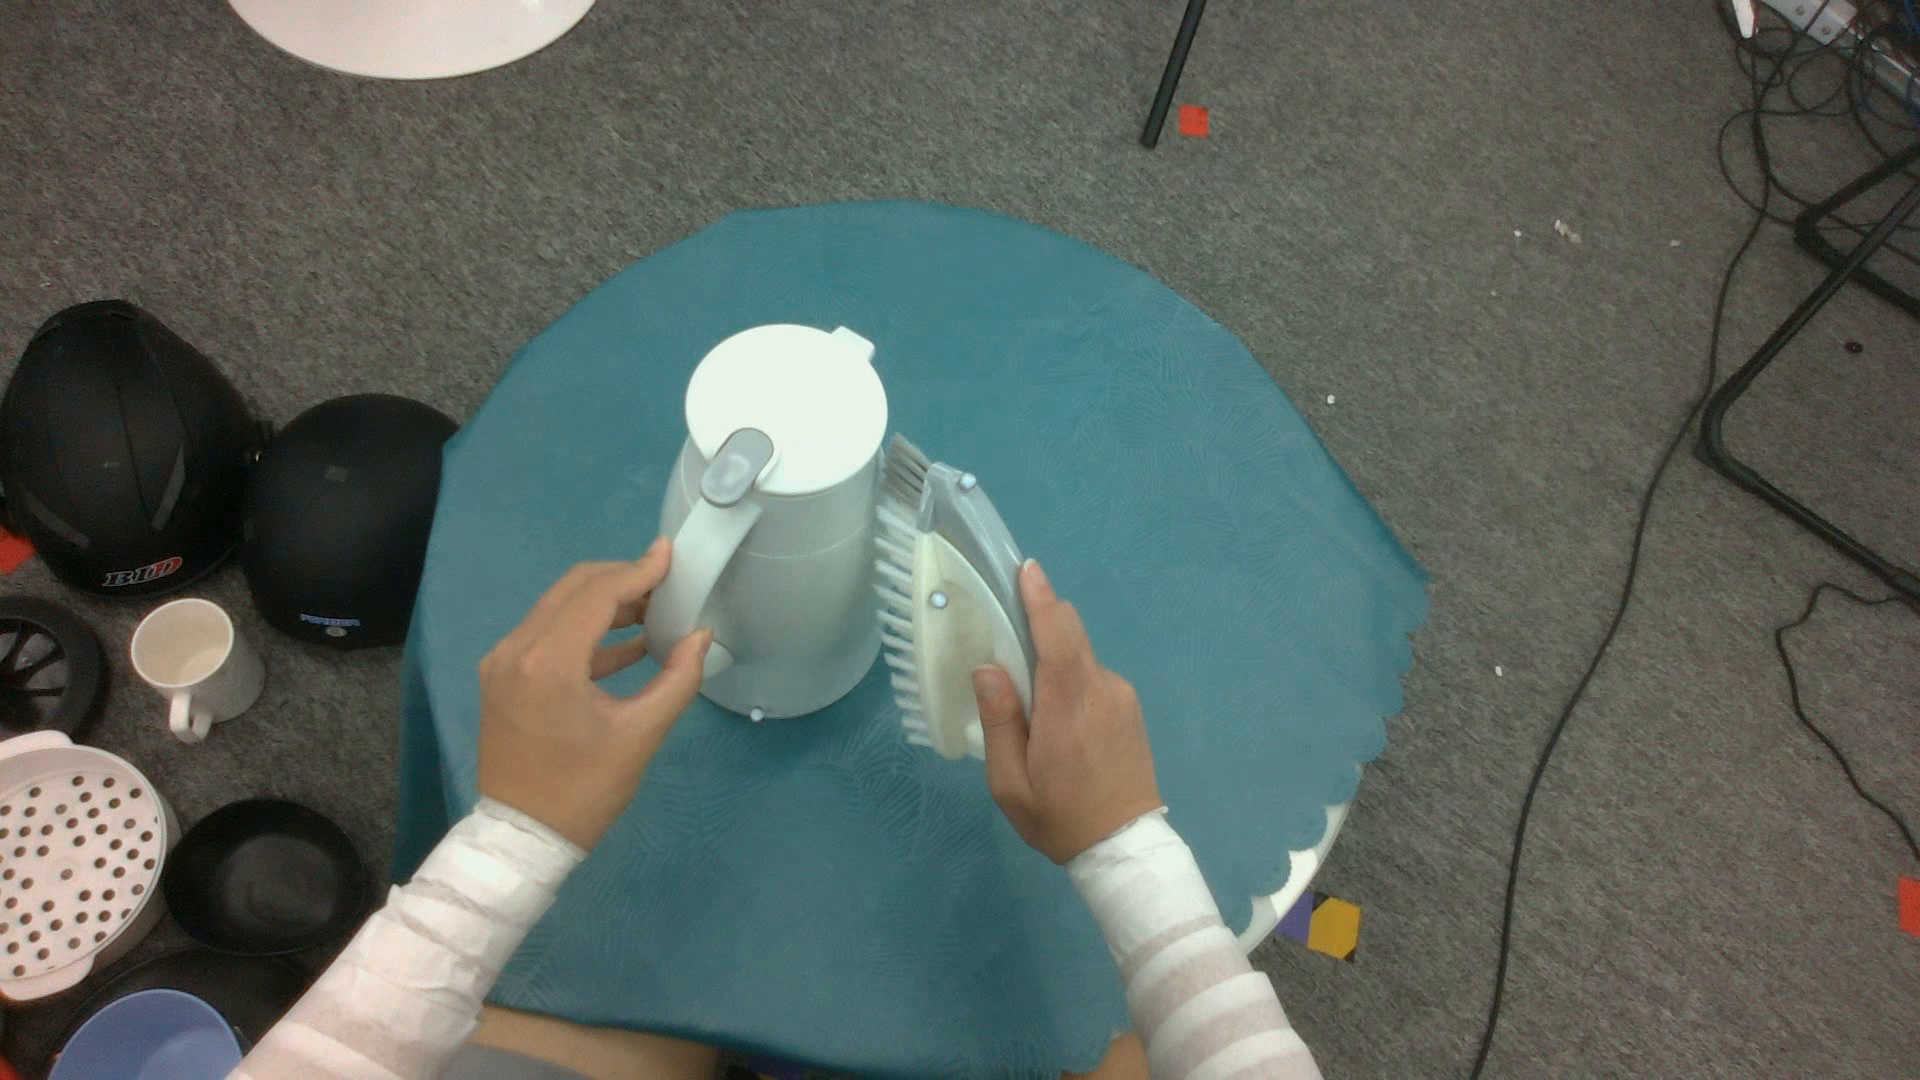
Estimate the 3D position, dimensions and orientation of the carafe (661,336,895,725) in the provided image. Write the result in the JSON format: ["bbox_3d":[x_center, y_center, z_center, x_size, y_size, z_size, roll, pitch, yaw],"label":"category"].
[{"bbox_3d":[-0.099,0.011,0.732,0.132,0.247,0.168,28,63,6],"label":"carafe"}]

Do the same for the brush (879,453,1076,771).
[{"bbox_3d":[0.011,0.041,0.682,0.094,0.175,0.062,15,38,39],"label":"brush"}]
